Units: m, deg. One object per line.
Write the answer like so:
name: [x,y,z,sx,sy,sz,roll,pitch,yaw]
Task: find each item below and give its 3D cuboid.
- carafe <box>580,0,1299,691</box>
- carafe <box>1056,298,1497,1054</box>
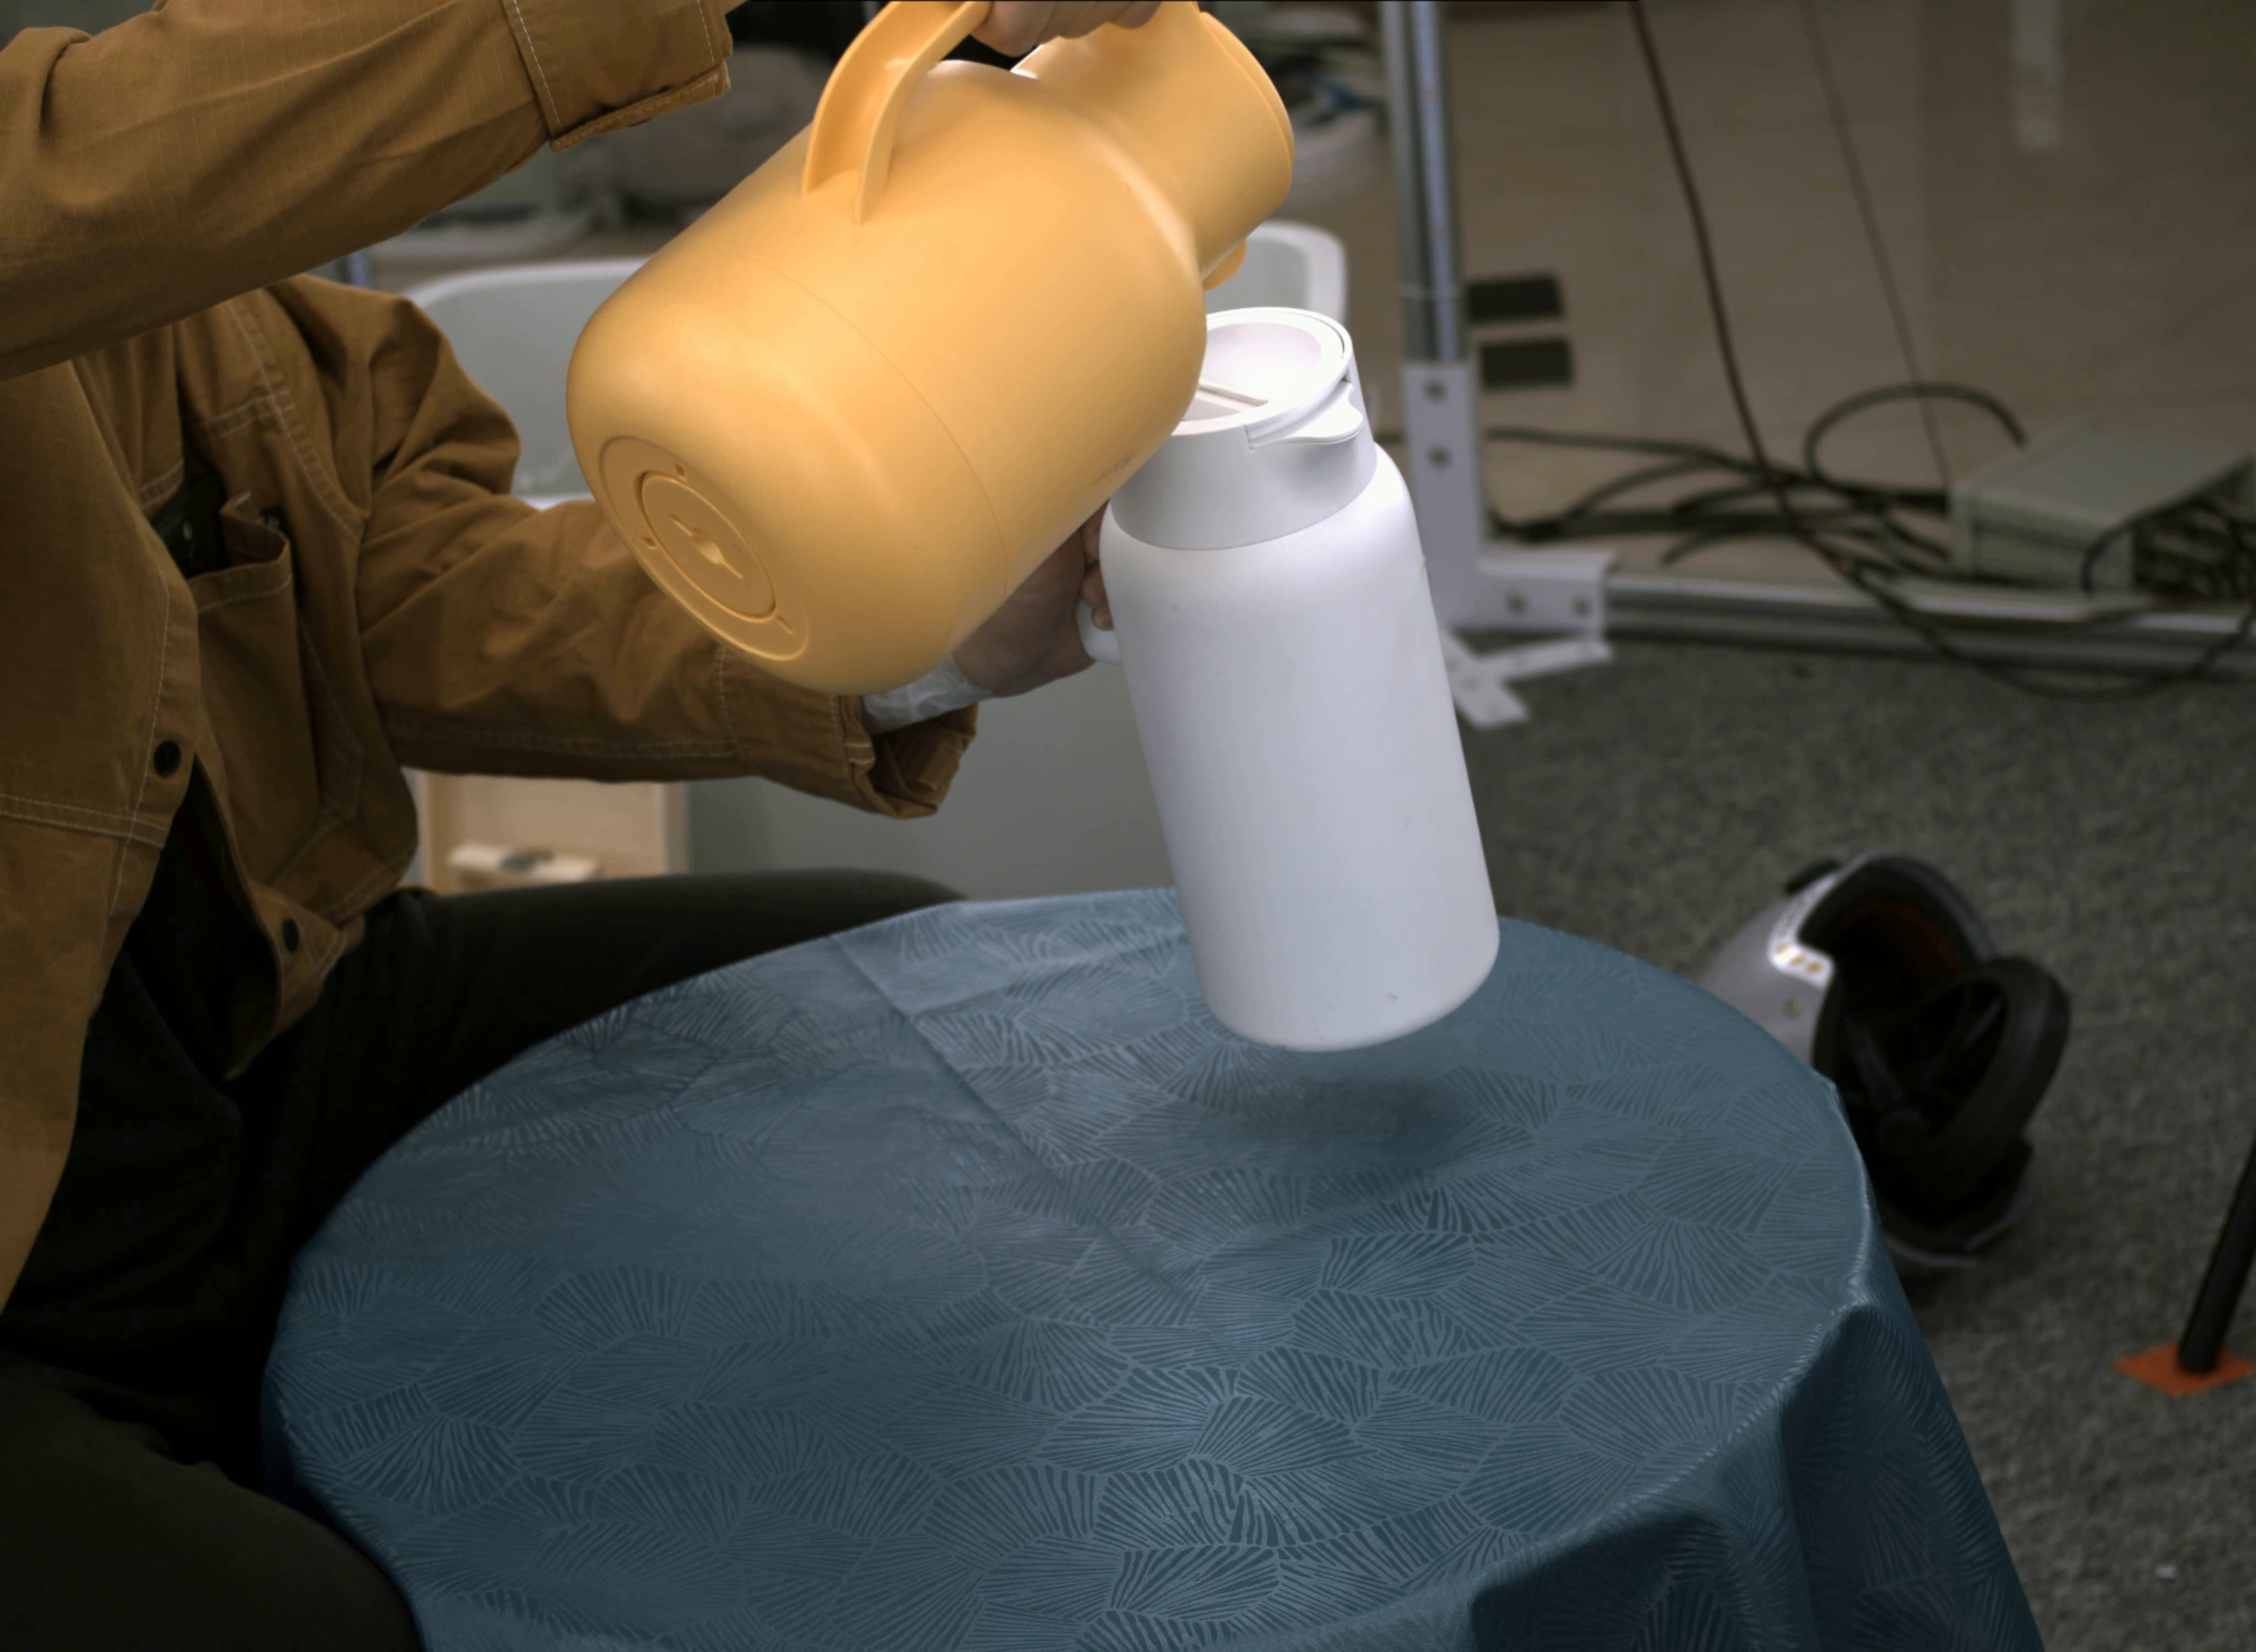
carafe: [-0.057,-0.190,1.888,0.162,0.206,0.257,25,58,33]
carafe: [0.046,-0.057,2.111,0.122,0.273,0.171,-37,38,-30]
